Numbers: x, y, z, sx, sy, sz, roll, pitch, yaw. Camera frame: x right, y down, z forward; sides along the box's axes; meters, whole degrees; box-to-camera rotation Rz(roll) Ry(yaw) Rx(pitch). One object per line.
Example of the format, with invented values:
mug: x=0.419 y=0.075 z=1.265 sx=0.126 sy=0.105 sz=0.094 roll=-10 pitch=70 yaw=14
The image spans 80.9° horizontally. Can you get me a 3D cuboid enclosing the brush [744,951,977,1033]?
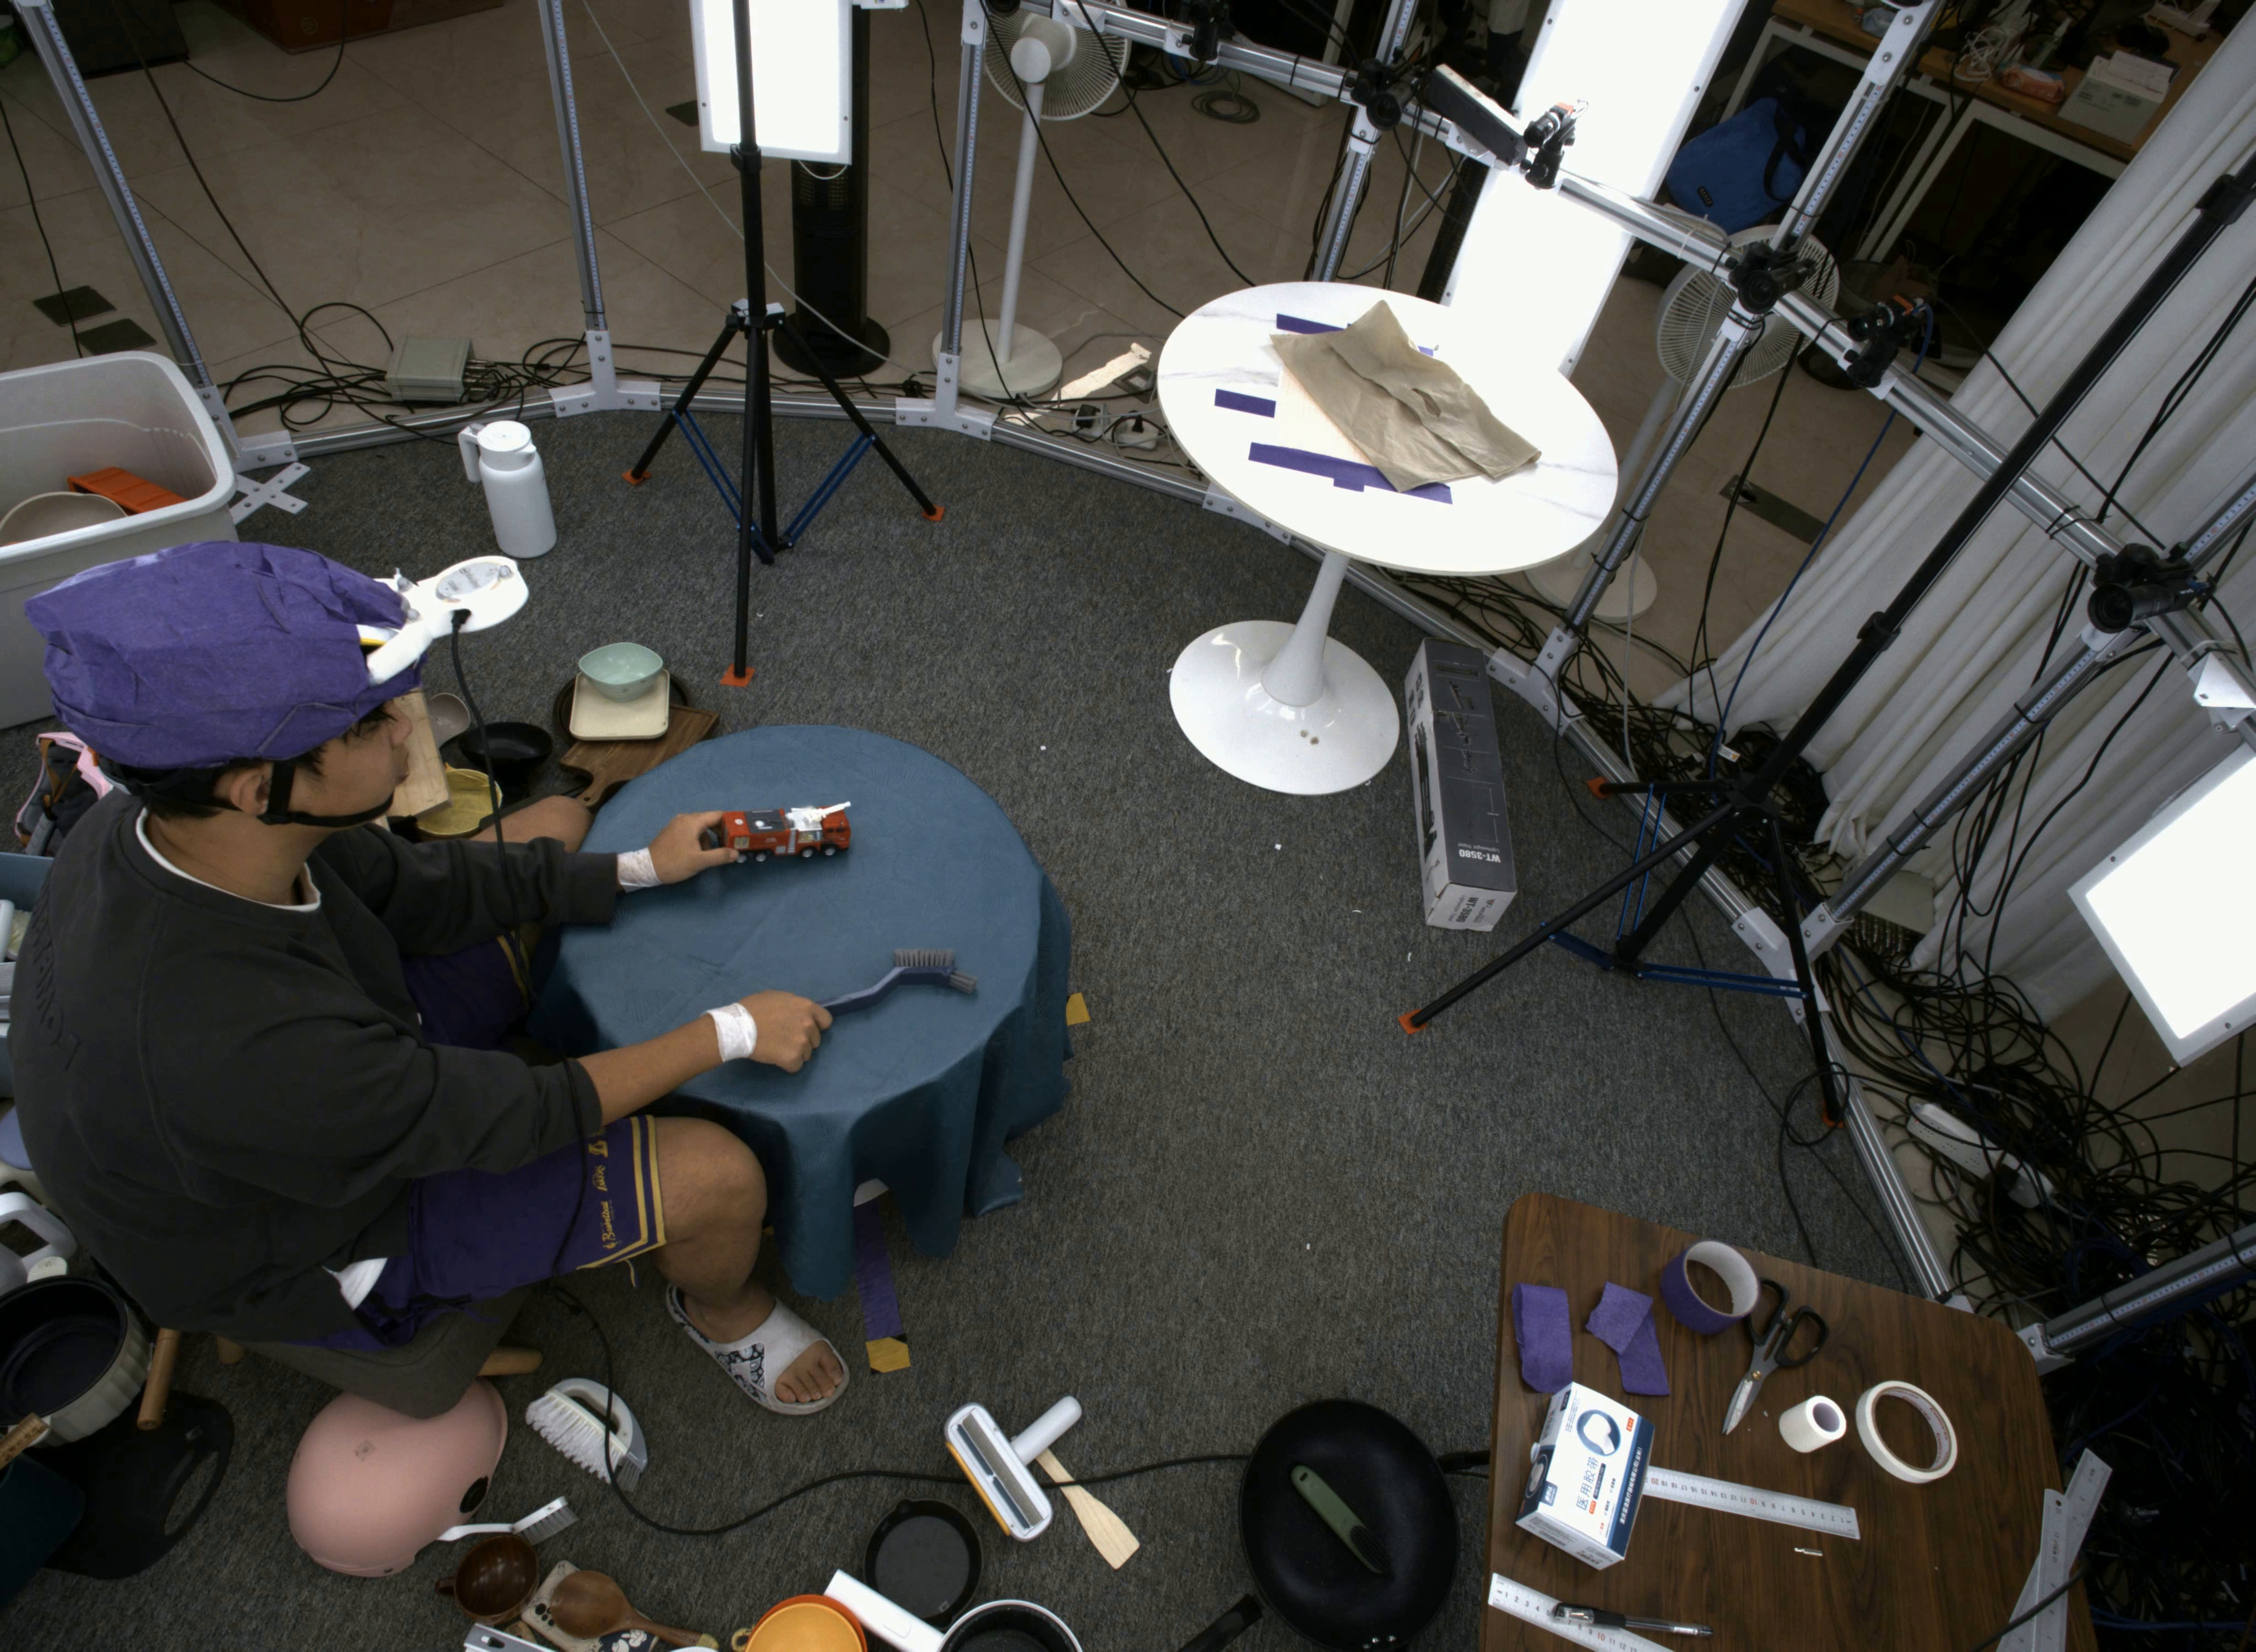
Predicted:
brush: x=-0.324 y=0.212 z=1.575 sx=0.274 sy=0.034 sz=0.093 roll=-21 pitch=62 yaw=-28

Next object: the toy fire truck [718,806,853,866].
toy fire truck: x=-0.439 y=0.007 z=1.668 sx=0.170 sy=0.072 sz=0.052 roll=-6 pitch=45 yaw=-29
